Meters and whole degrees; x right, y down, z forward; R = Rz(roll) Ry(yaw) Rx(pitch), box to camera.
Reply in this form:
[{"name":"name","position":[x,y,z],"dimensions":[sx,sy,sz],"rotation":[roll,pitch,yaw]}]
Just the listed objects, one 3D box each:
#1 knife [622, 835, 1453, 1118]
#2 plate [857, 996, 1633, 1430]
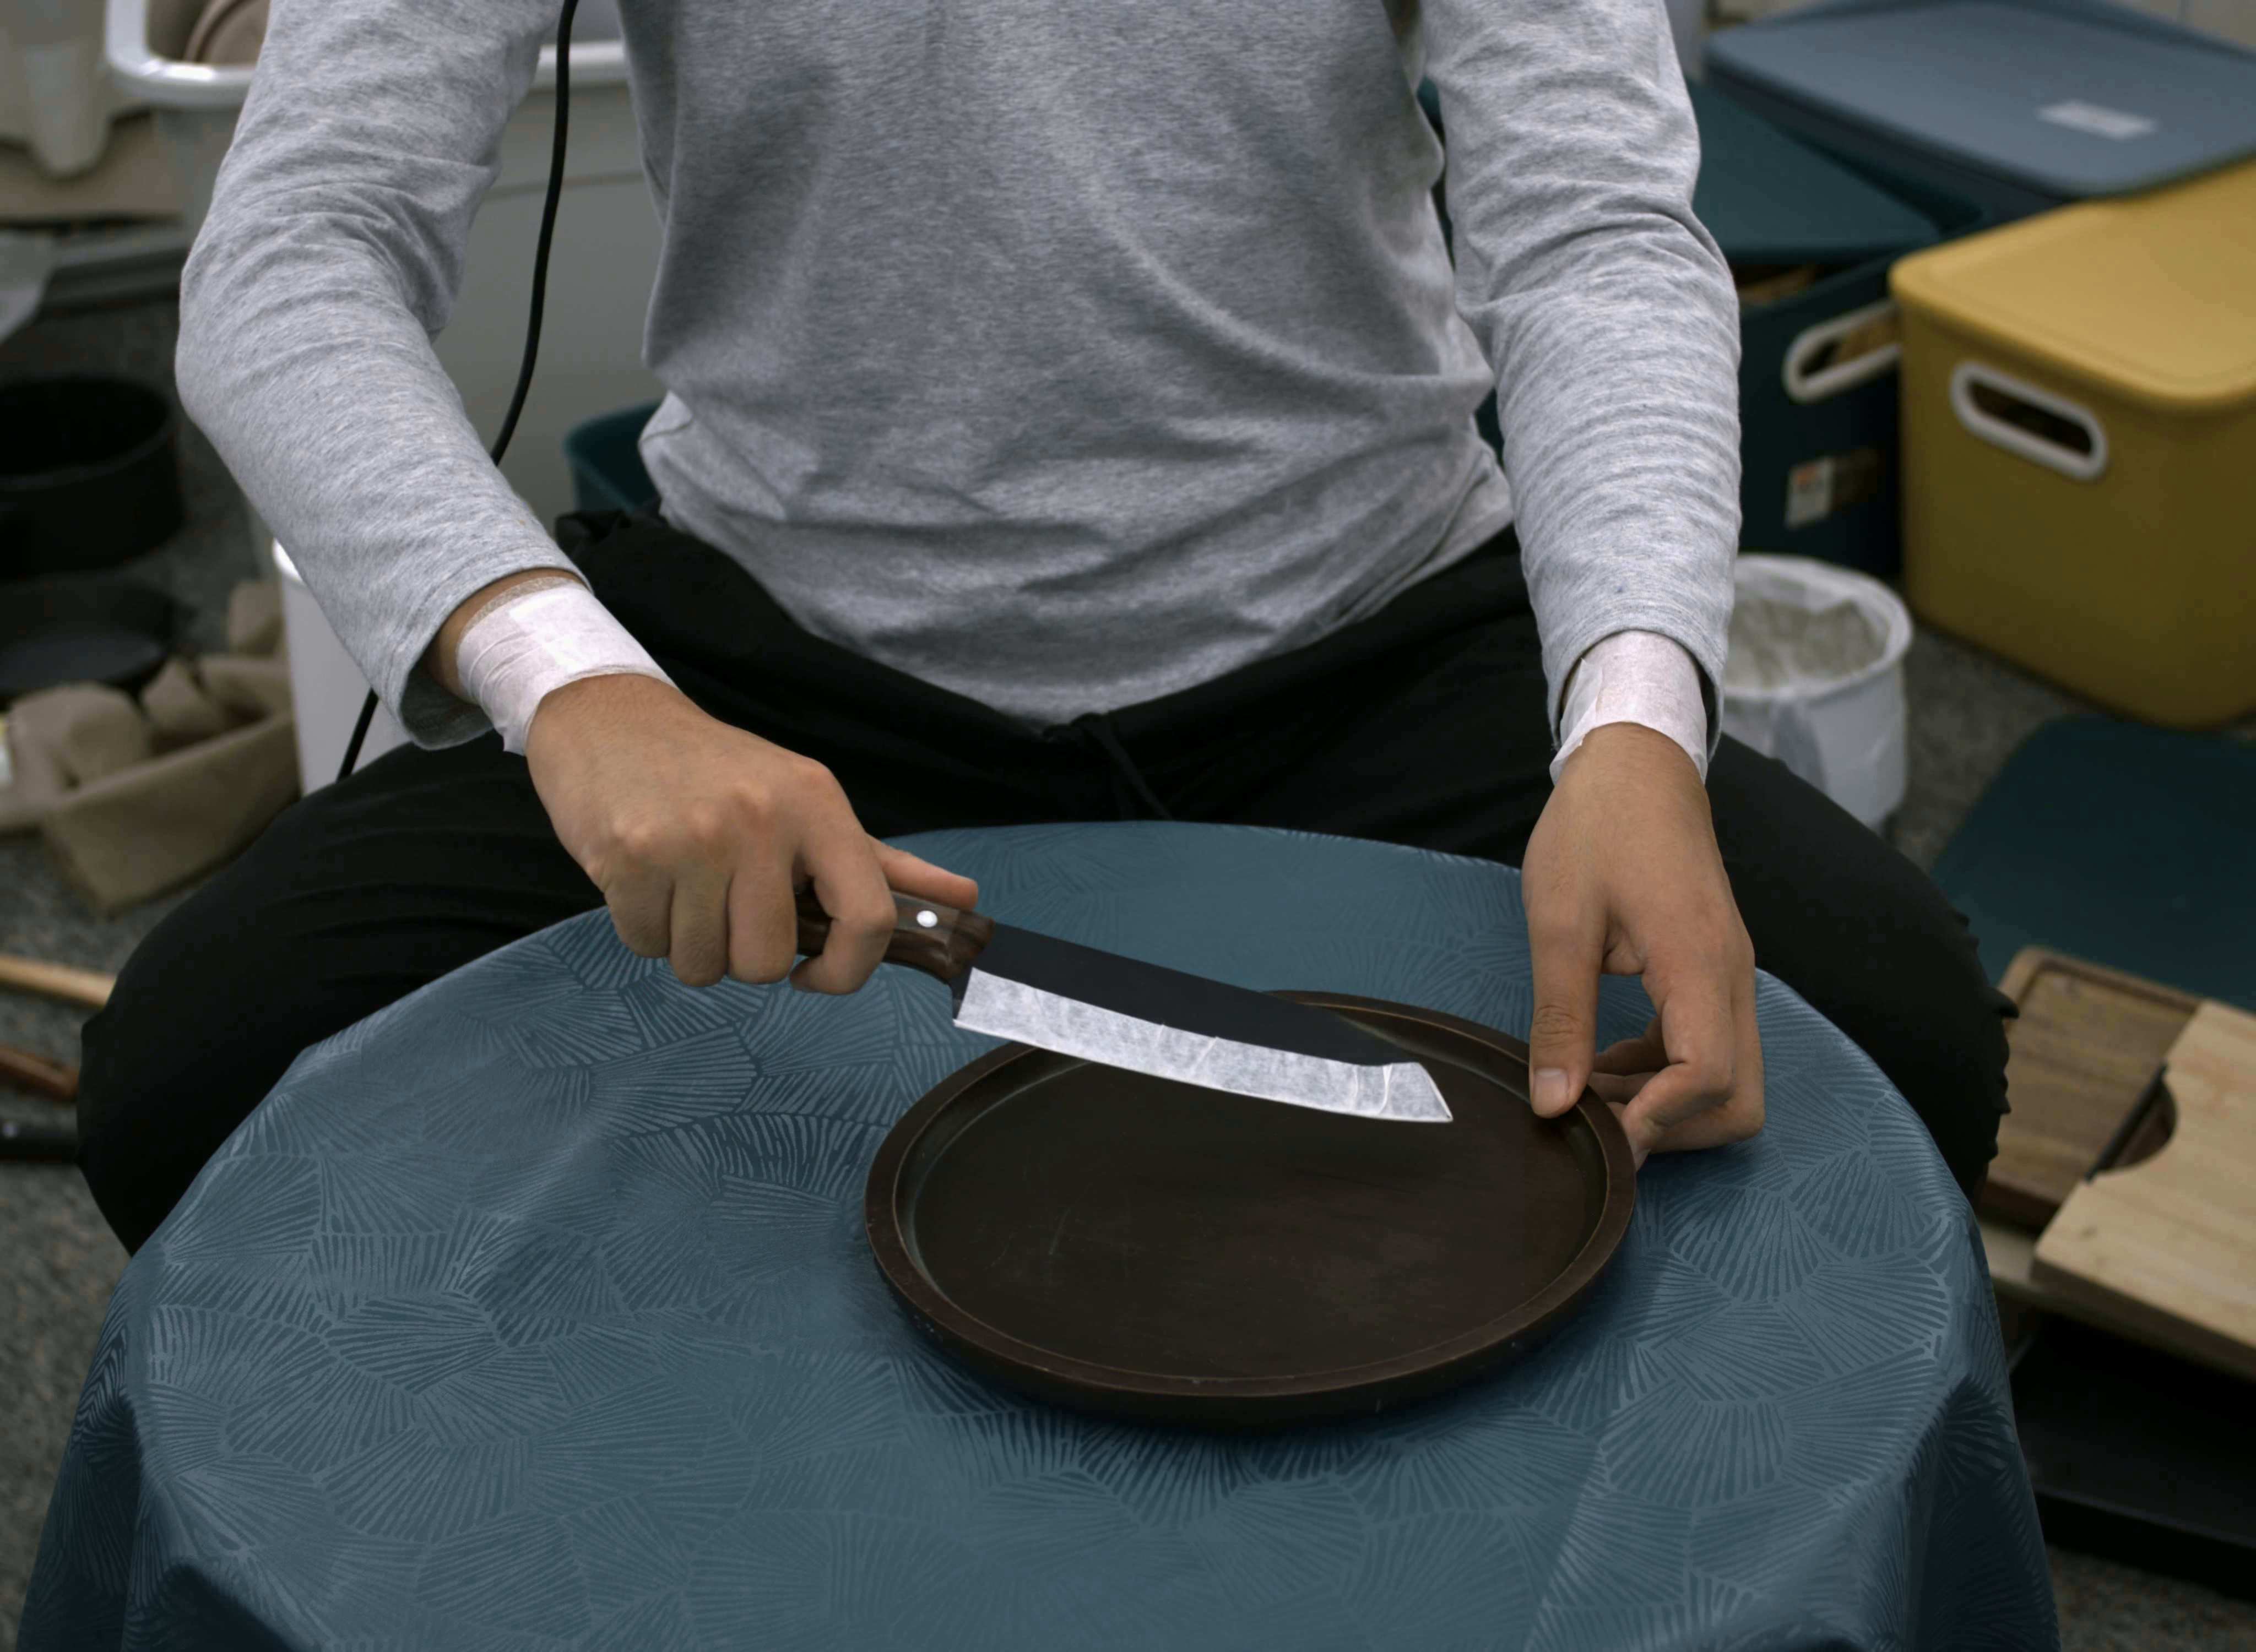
[{"name":"knife","position":[-0.031,0.051,1.850],"dimensions":[0.288,0.019,0.051],"rotation":[16,54,2]},{"name":"plate","position":[0.038,0.123,1.828],"dimensions":[0.253,0.029,0.258],"rotation":[-3,26,2]}]
